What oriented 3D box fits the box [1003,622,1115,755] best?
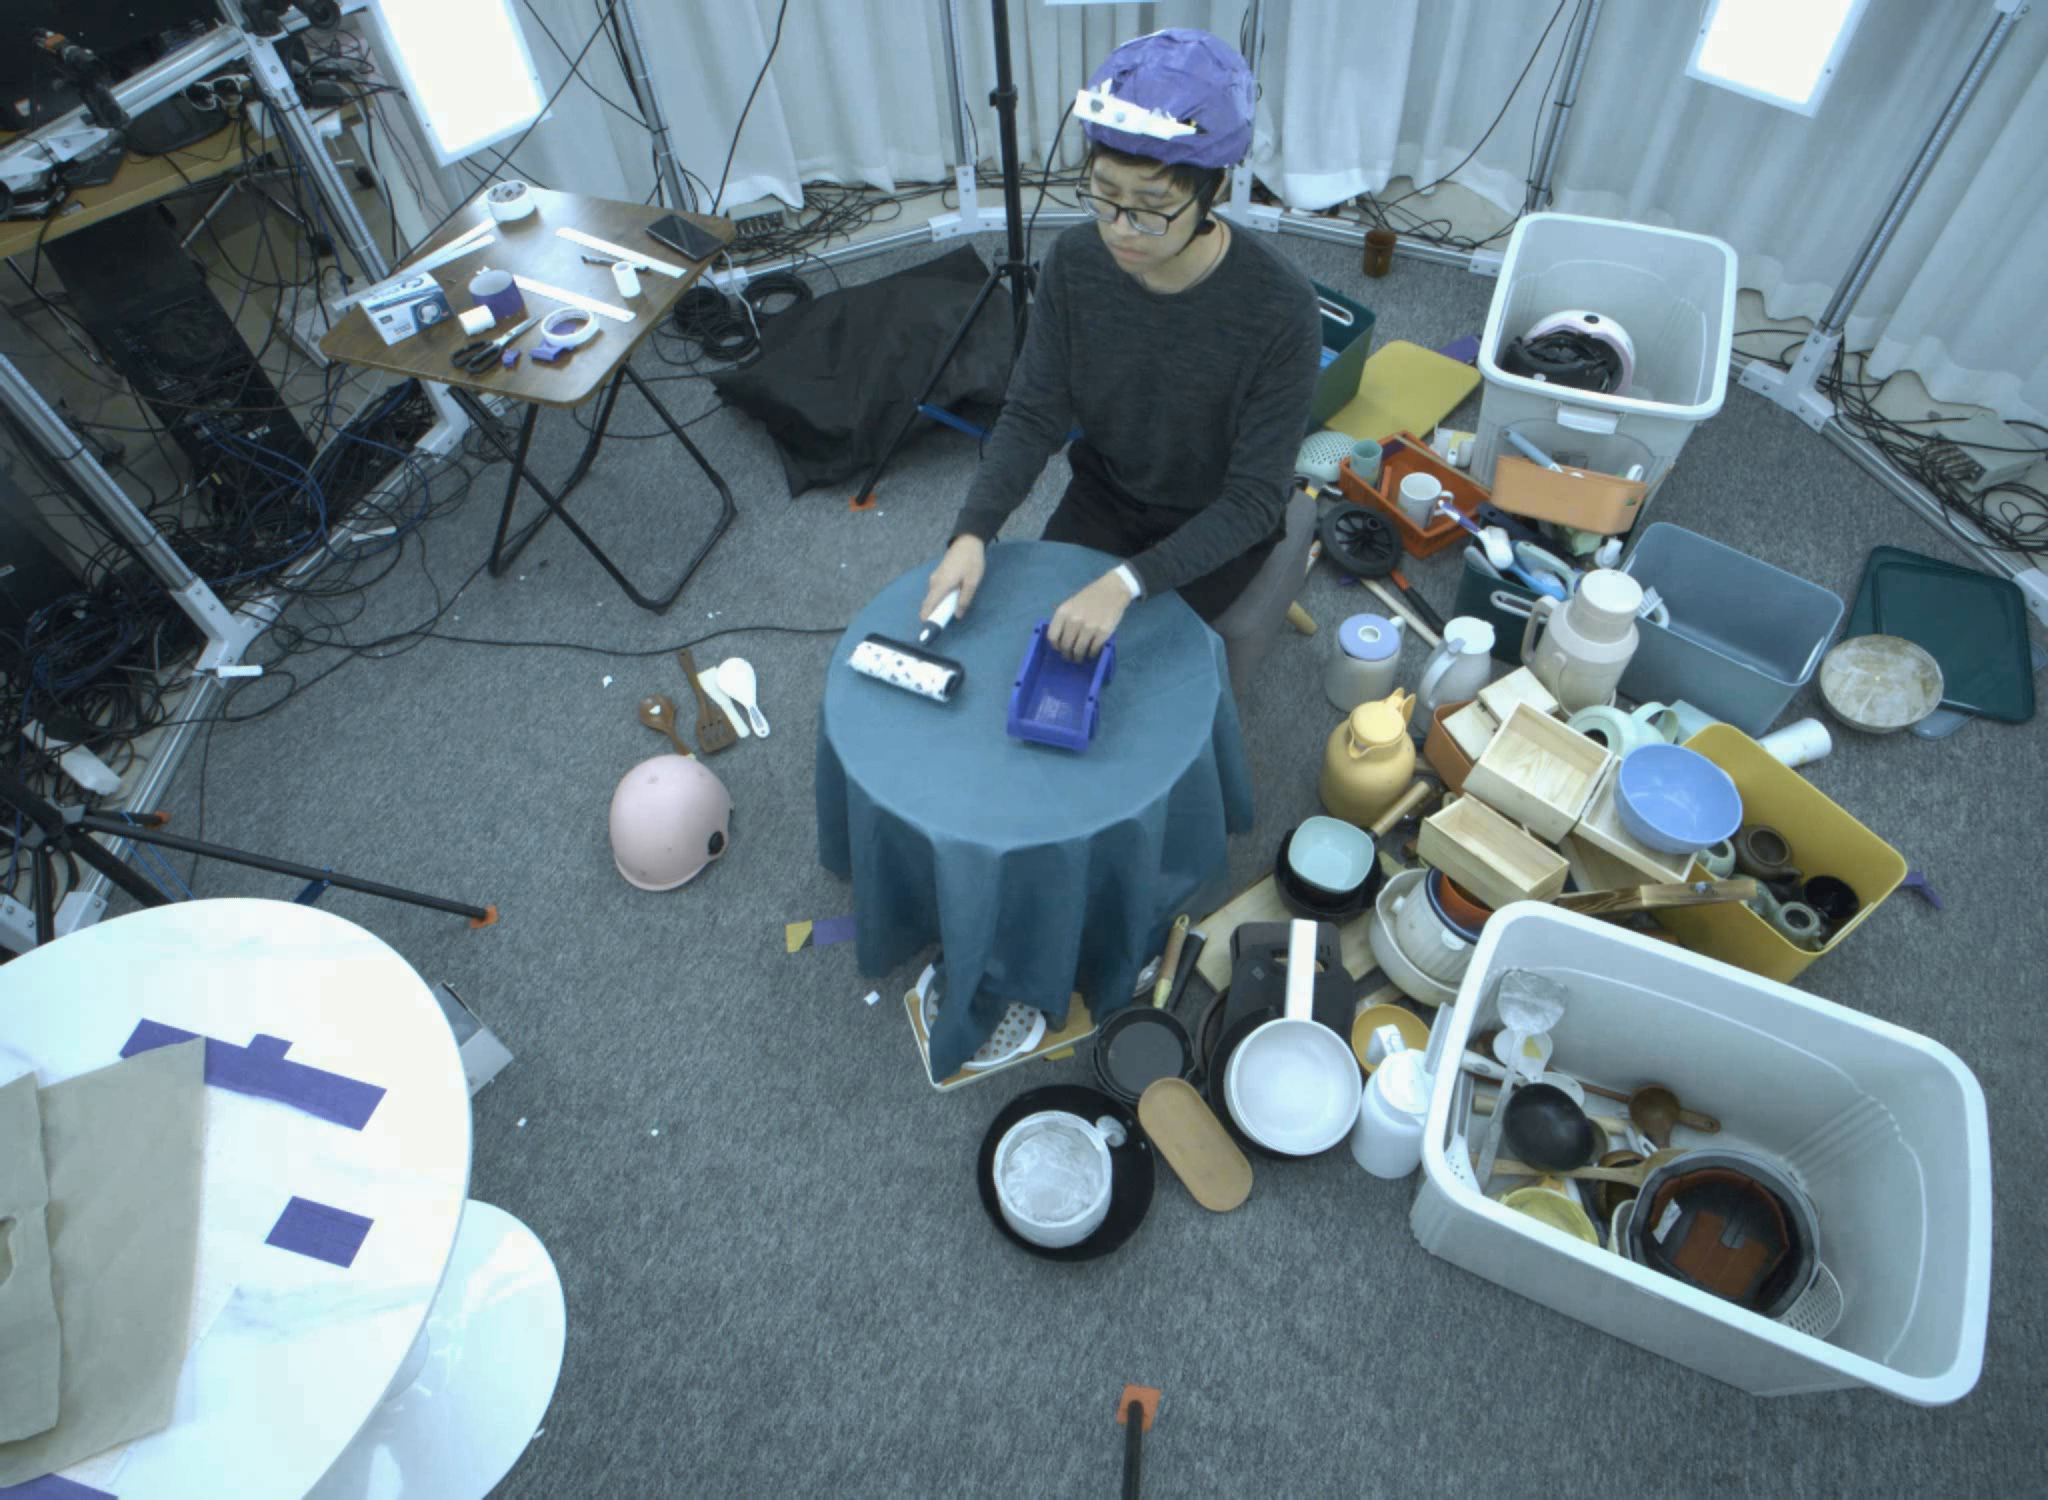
[{"bbox_3d":[0.054,-0.086,1.795,0.123,0.082,0.179,13,54,10],"label":"box"}]

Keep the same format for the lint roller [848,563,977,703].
[{"bbox_3d":[-0.141,-0.198,1.886,0.174,0.051,0.247,20,66,18],"label":"lint roller"}]
